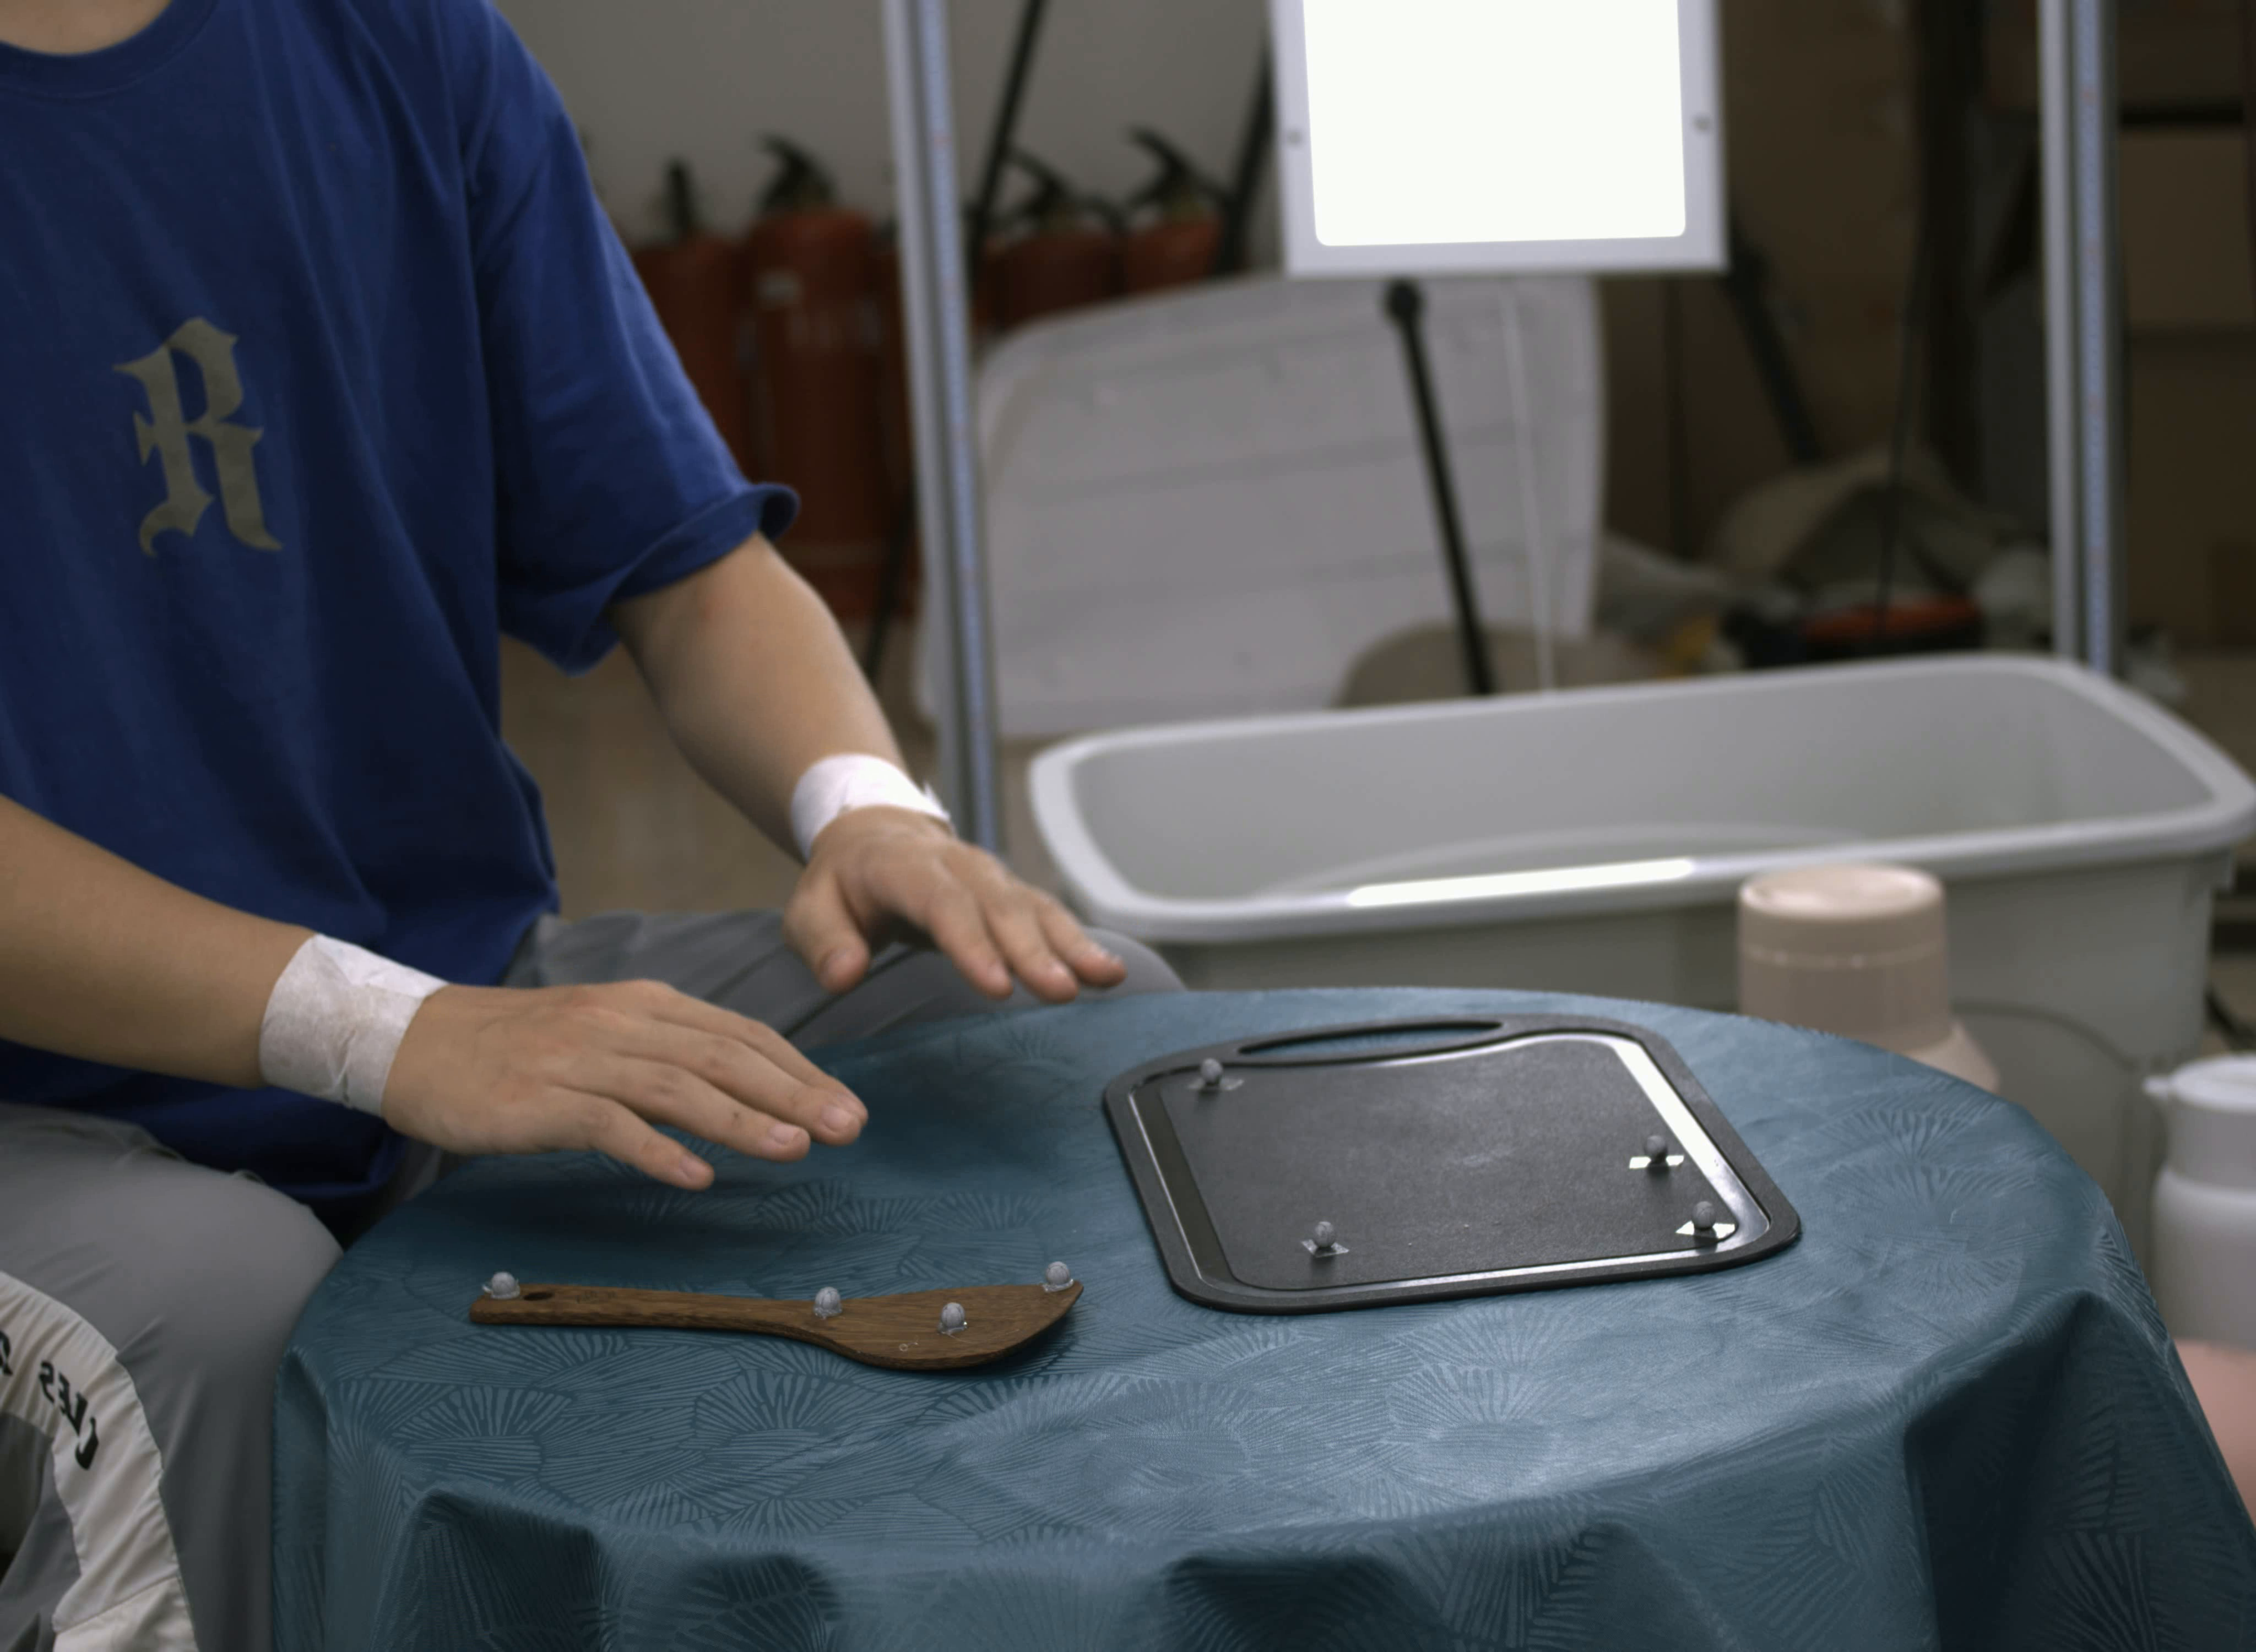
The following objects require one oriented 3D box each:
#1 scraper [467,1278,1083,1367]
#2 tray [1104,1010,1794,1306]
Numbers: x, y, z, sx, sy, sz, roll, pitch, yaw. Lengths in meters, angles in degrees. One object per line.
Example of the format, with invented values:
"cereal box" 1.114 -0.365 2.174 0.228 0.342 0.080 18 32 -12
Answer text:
"scraper" -0.119 0.158 1.792 0.214 0.011 0.074 0 14 24
"tray" 0.104 0.109 1.914 0.210 0.010 0.326 -6 14 -3
